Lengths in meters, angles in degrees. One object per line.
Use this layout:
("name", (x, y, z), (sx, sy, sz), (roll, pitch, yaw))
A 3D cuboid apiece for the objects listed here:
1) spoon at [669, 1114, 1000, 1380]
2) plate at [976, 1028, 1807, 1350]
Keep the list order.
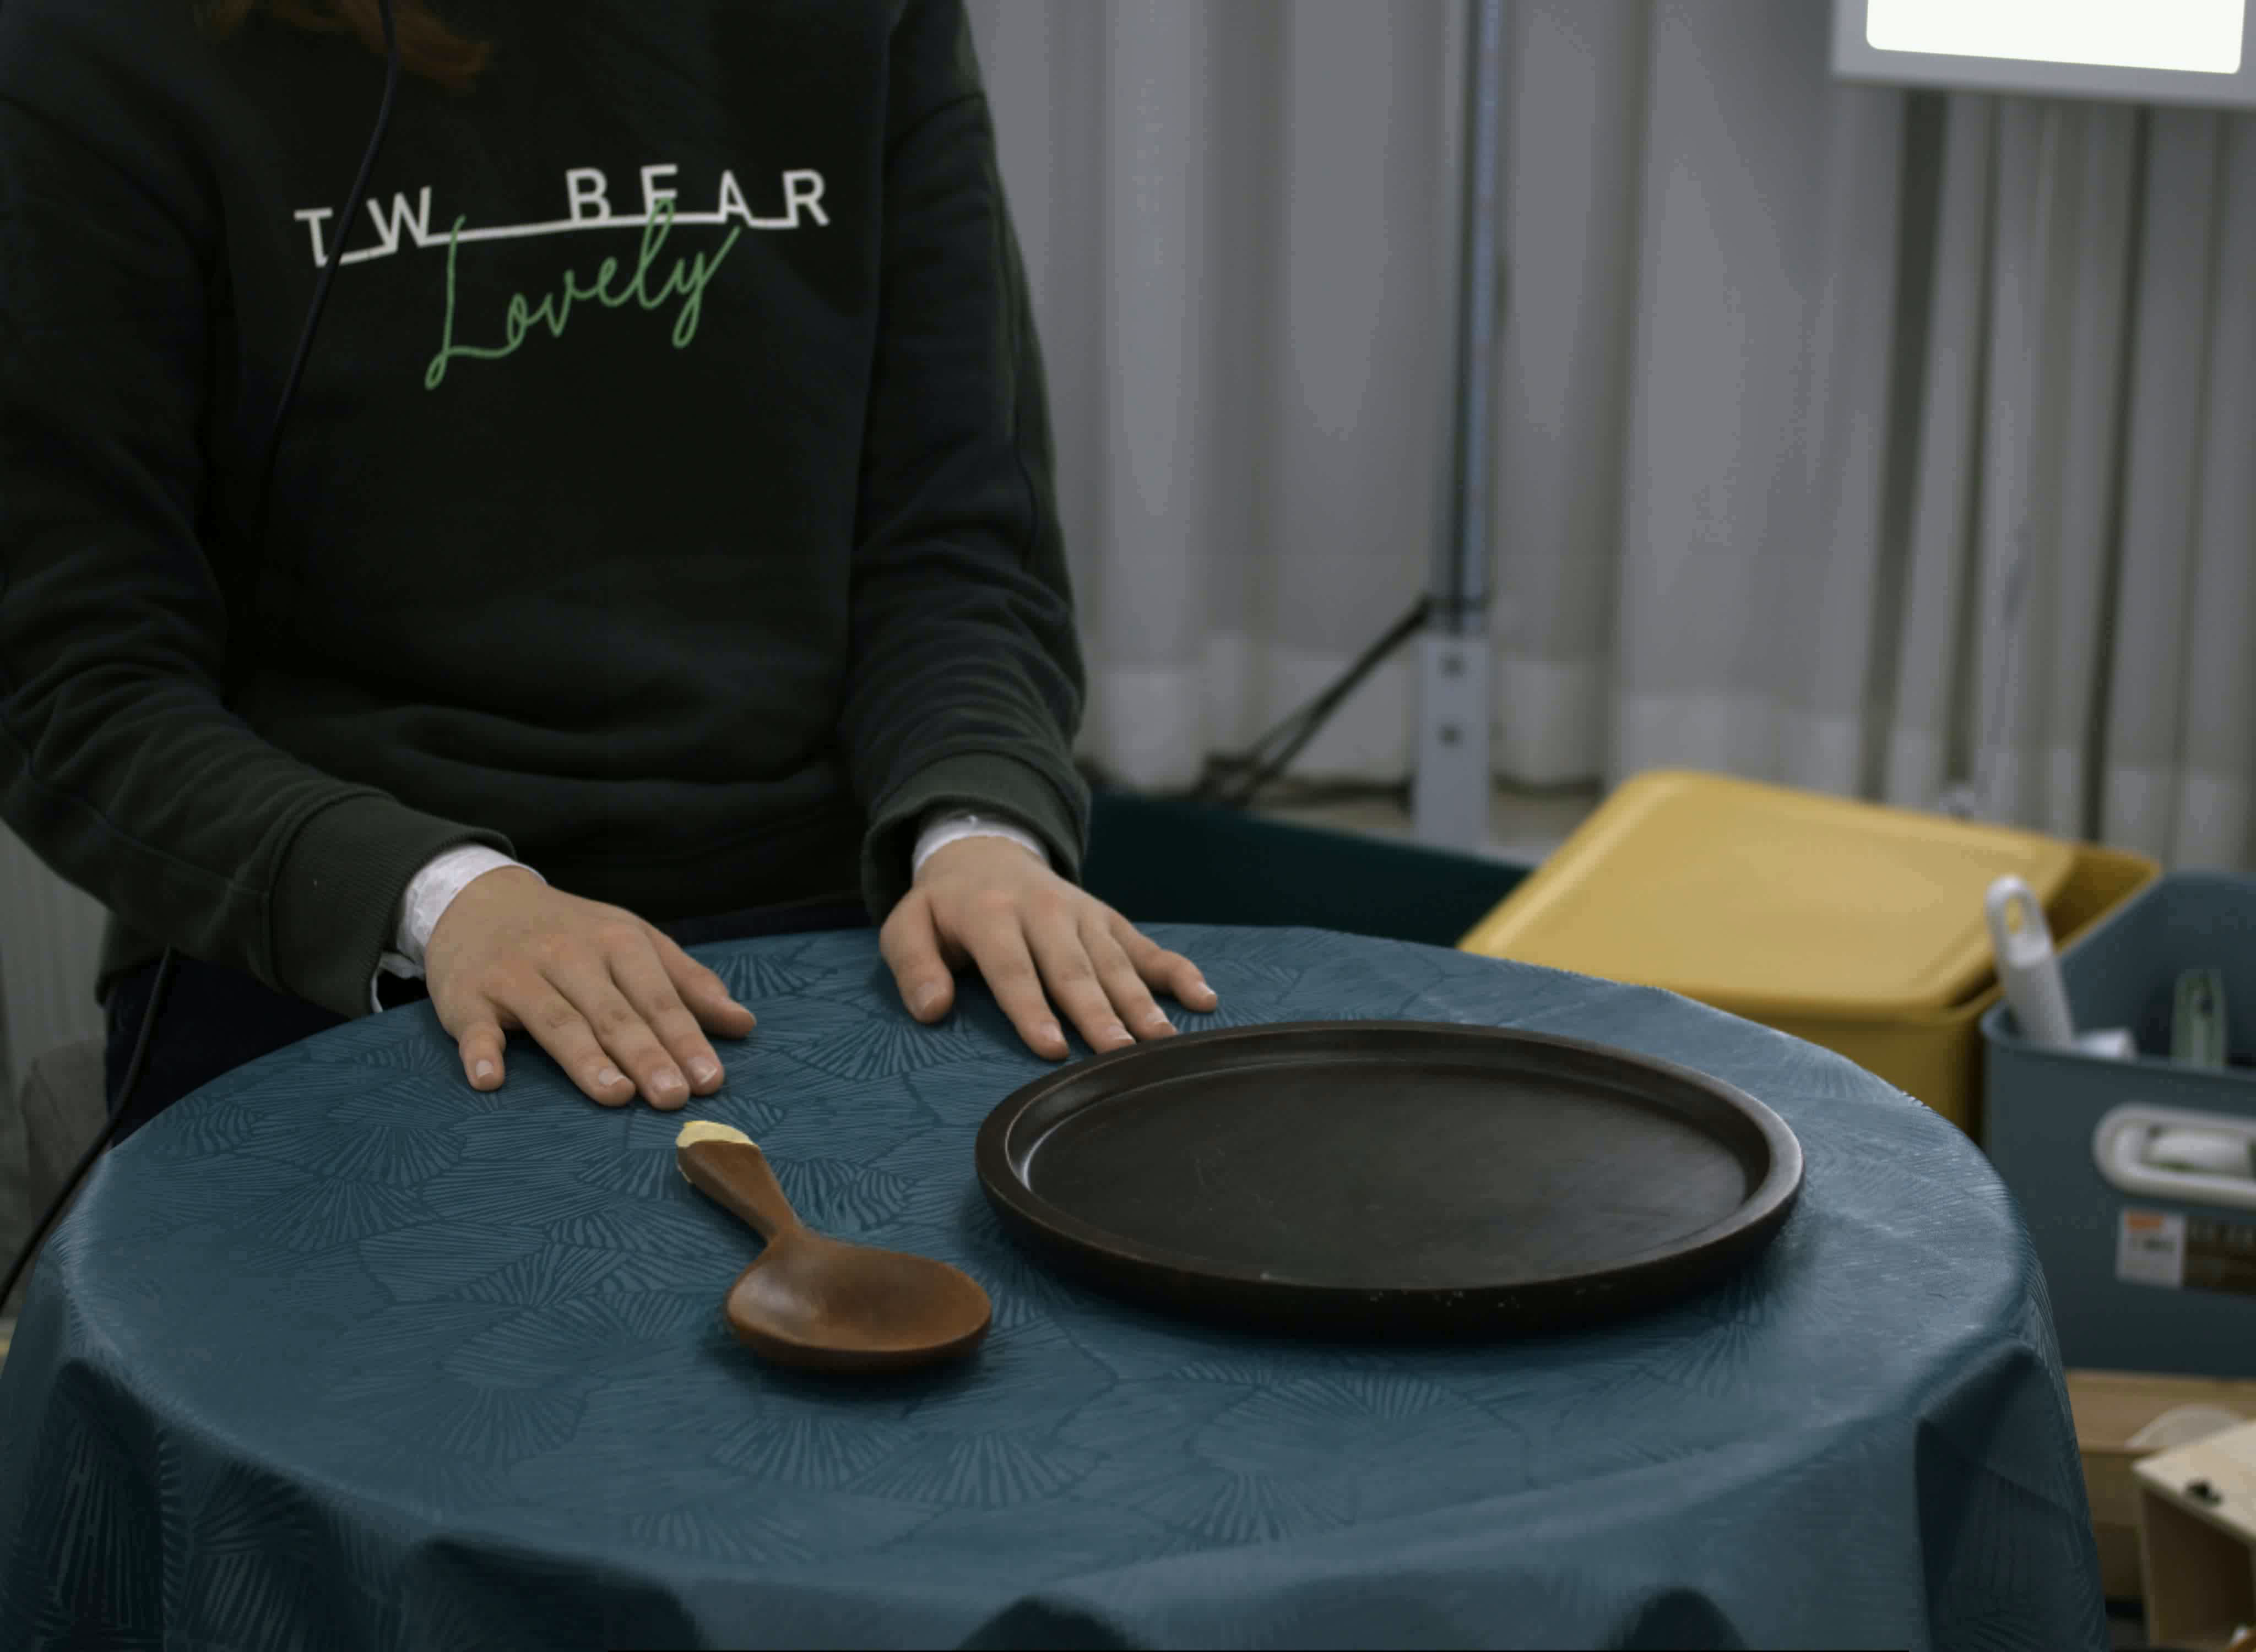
("spoon", (-0.097, 0.124, 1.550), (0.075, 0.017, 0.213), (-6, 17, -19))
("plate", (0.080, 0.108, 1.608), (0.254, 0.029, 0.253), (2, 17, 0))
